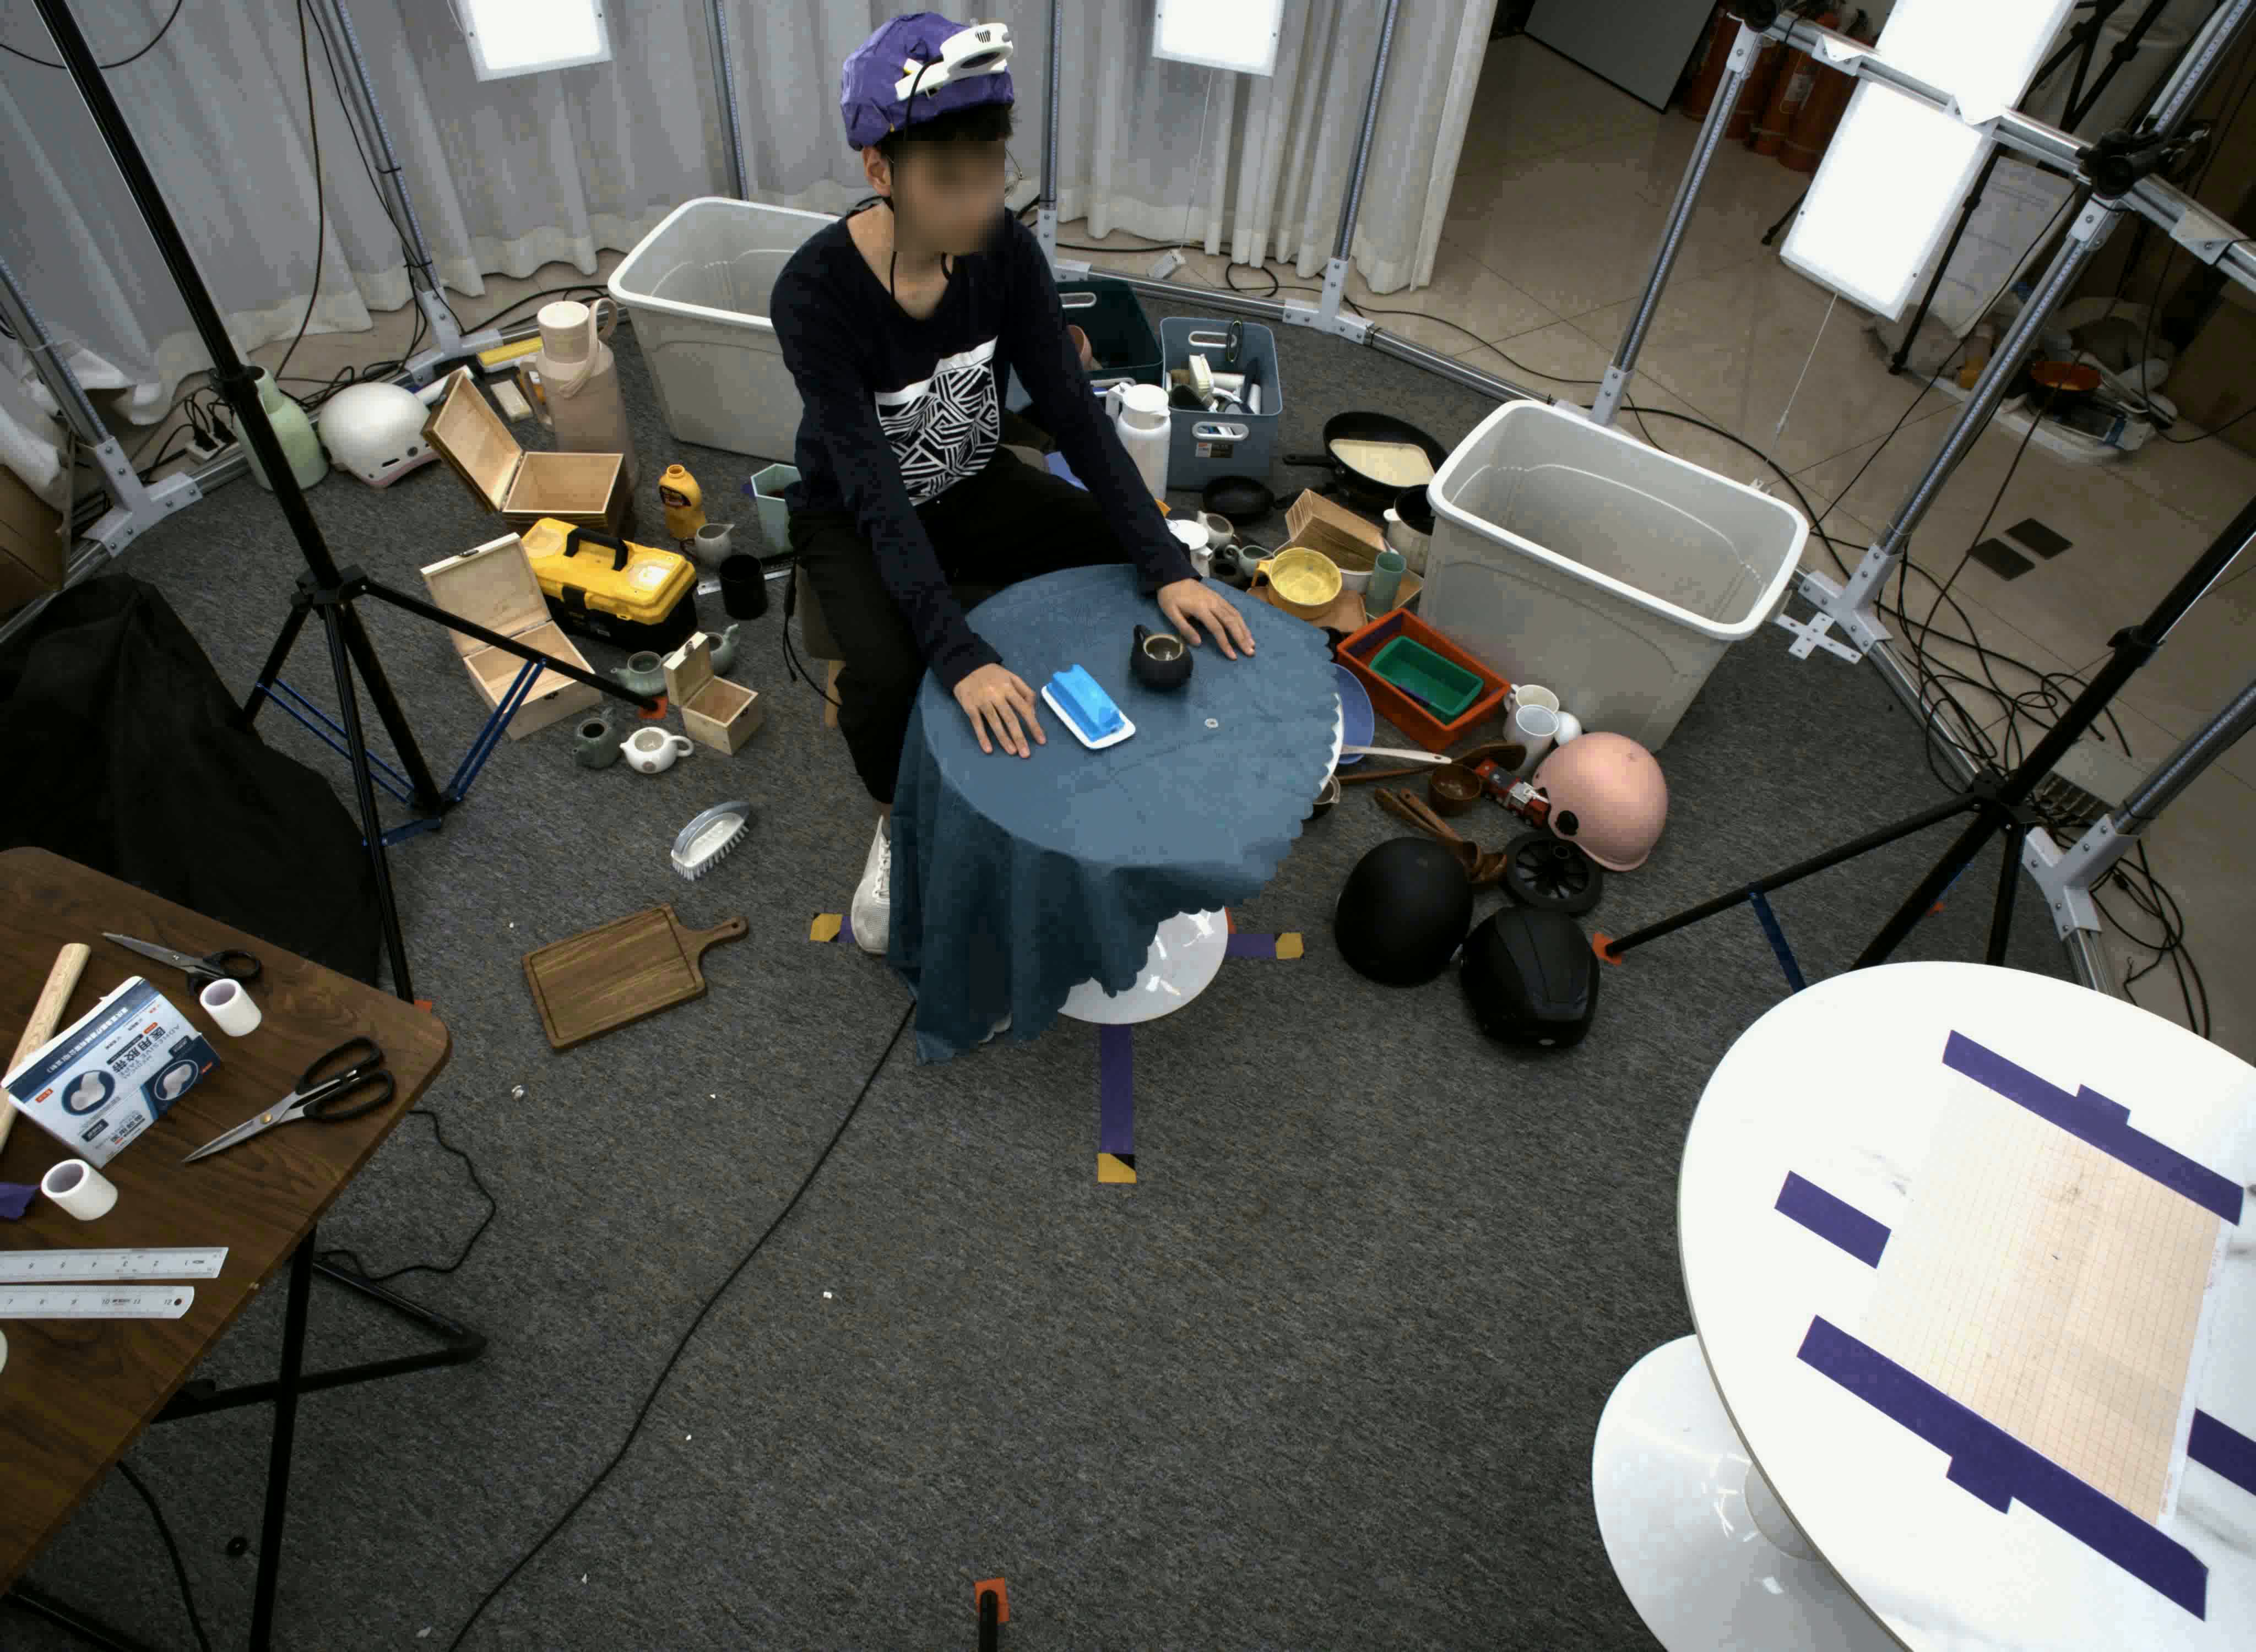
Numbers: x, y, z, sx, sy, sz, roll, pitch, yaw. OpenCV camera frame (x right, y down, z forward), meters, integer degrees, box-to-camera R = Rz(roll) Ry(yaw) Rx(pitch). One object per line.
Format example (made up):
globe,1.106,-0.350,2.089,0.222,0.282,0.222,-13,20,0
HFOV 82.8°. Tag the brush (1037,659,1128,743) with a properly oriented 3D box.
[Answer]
brush,-0.061,-0.180,1.779,0.084,0.054,0.147,-20,56,-25

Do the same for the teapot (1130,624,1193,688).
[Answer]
teapot,0.048,-0.239,1.842,0.091,0.052,0.136,-24,55,-24
